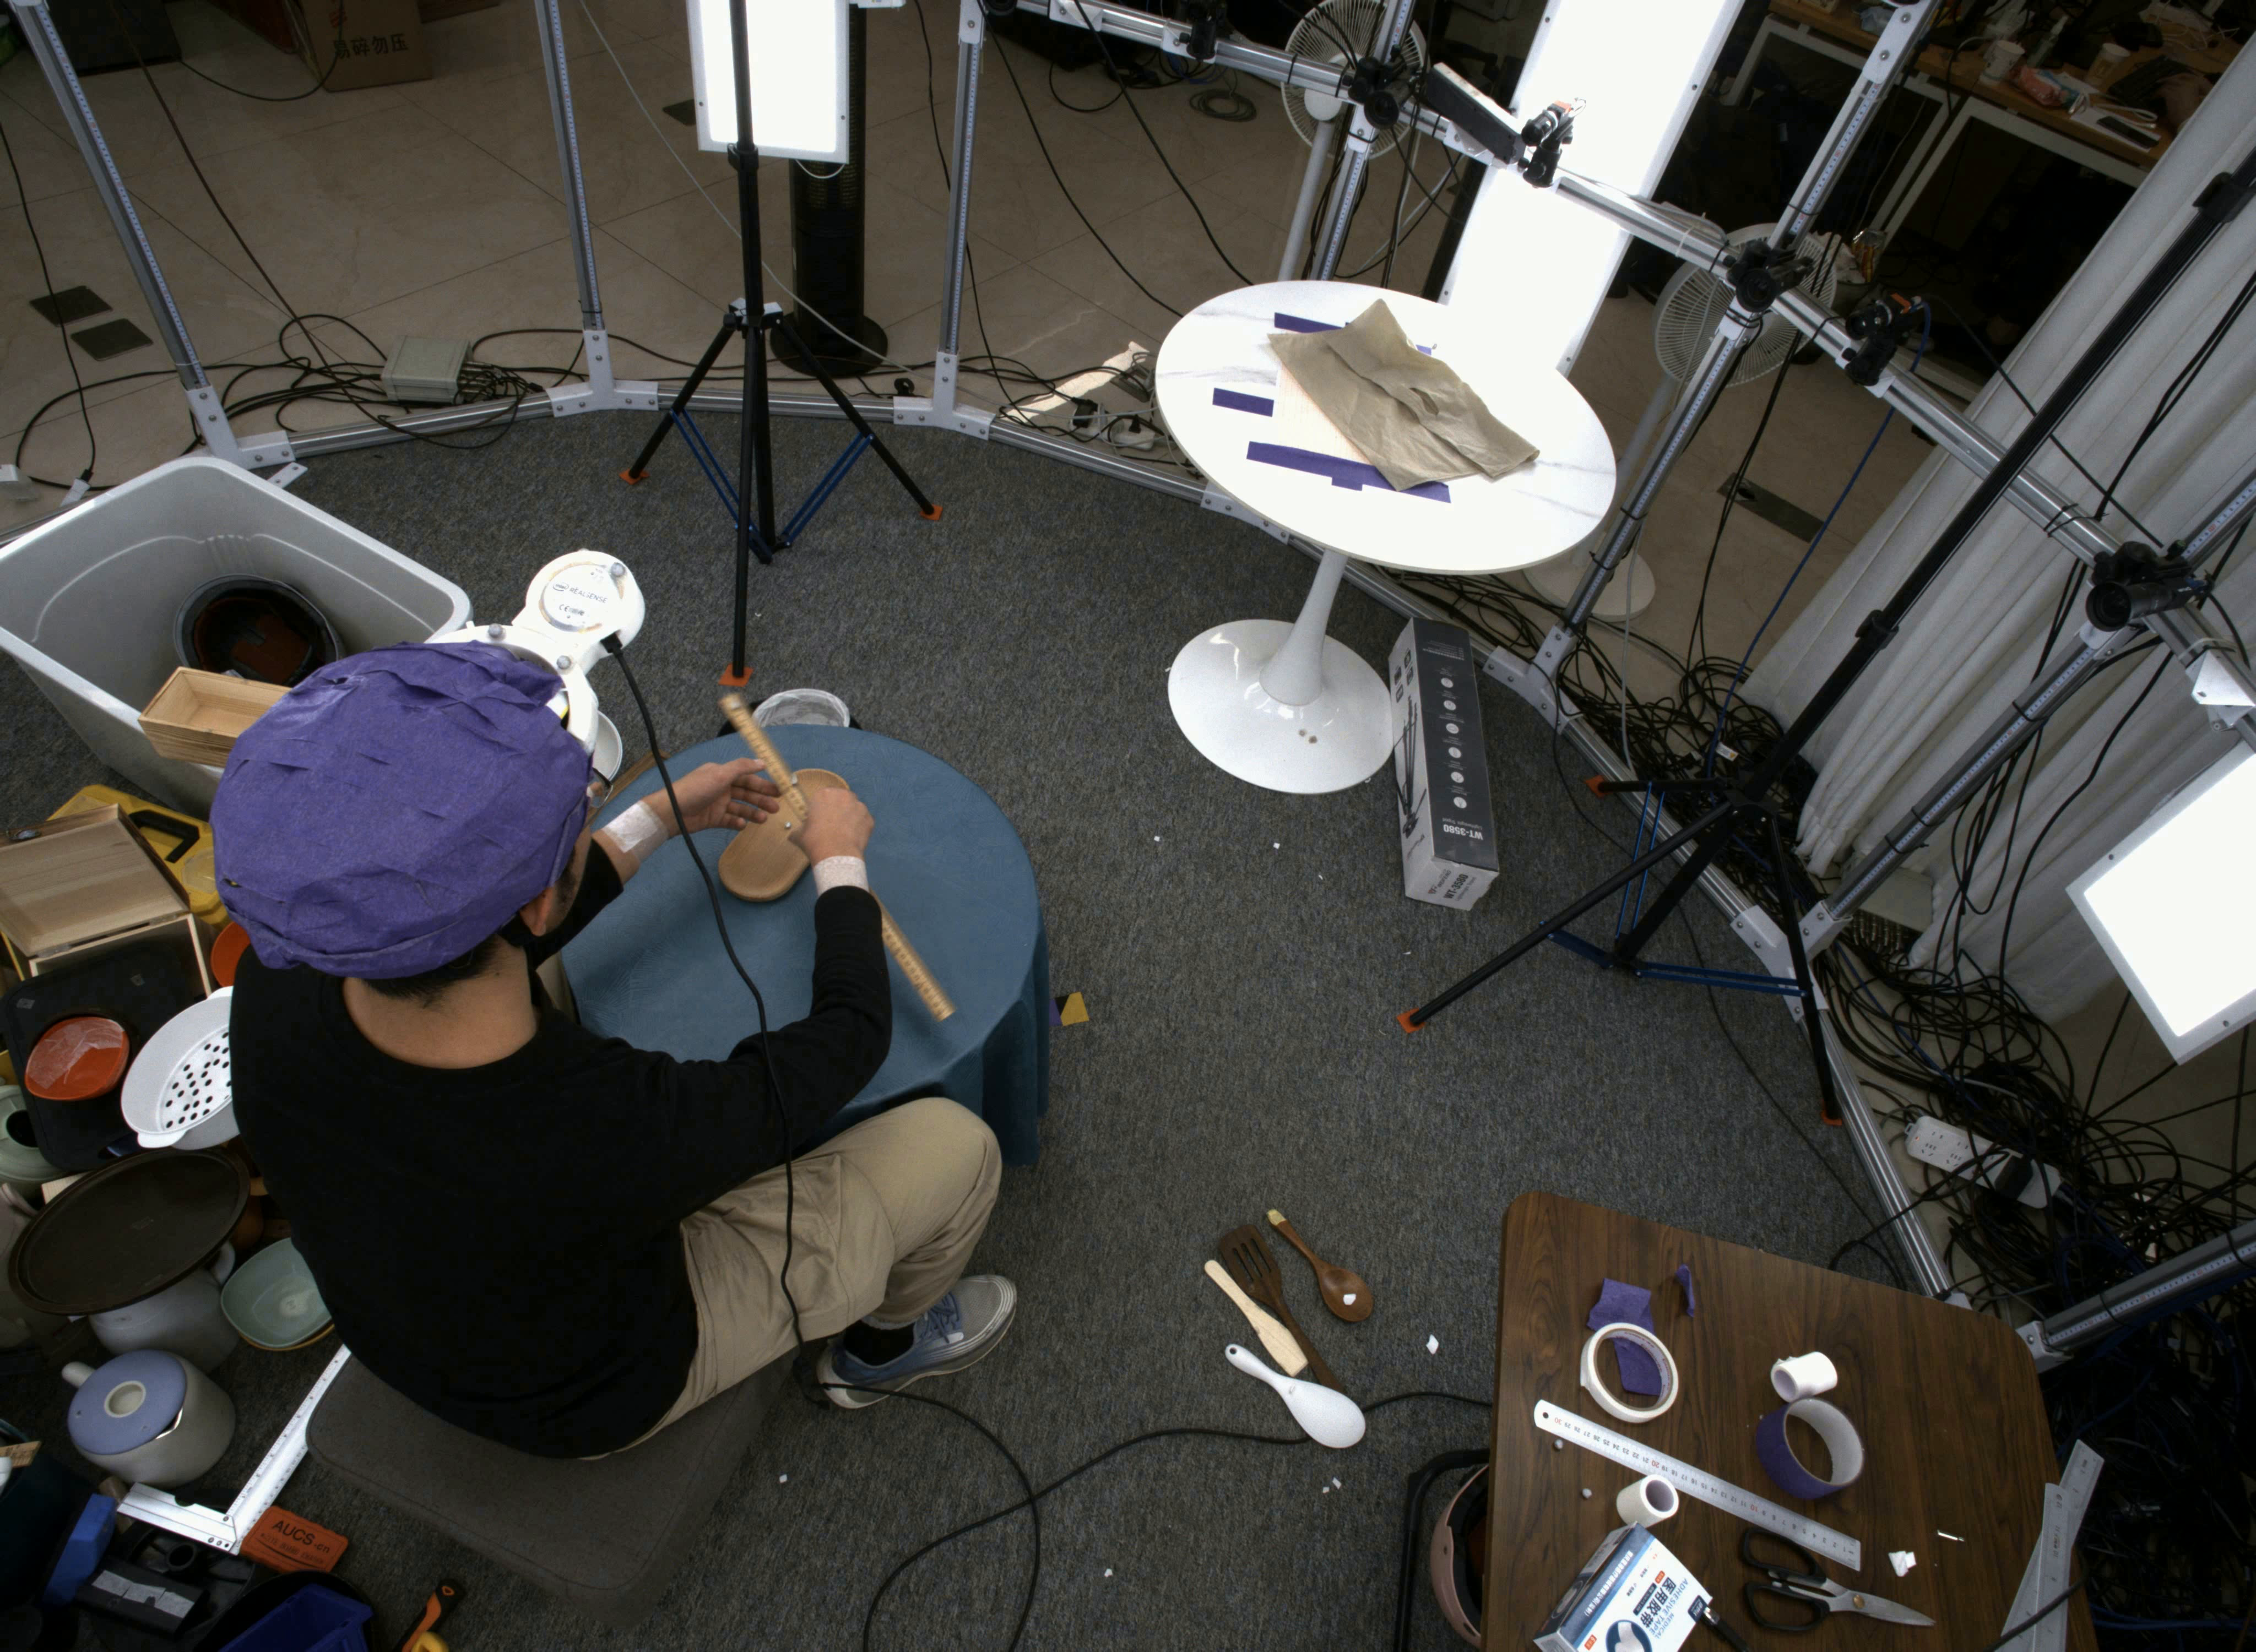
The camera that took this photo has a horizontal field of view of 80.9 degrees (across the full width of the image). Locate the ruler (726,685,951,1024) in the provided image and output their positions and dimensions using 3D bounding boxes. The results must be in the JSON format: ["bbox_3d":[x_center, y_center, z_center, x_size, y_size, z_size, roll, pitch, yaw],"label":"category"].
[{"bbox_3d":[-0.359,0.028,1.582,0.027,0.006,0.496,-30,78,-25],"label":"ruler"}]

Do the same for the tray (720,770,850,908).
[{"bbox_3d":[-0.446,0.013,1.693,0.100,0.021,0.229,22,53,5],"label":"tray"}]
